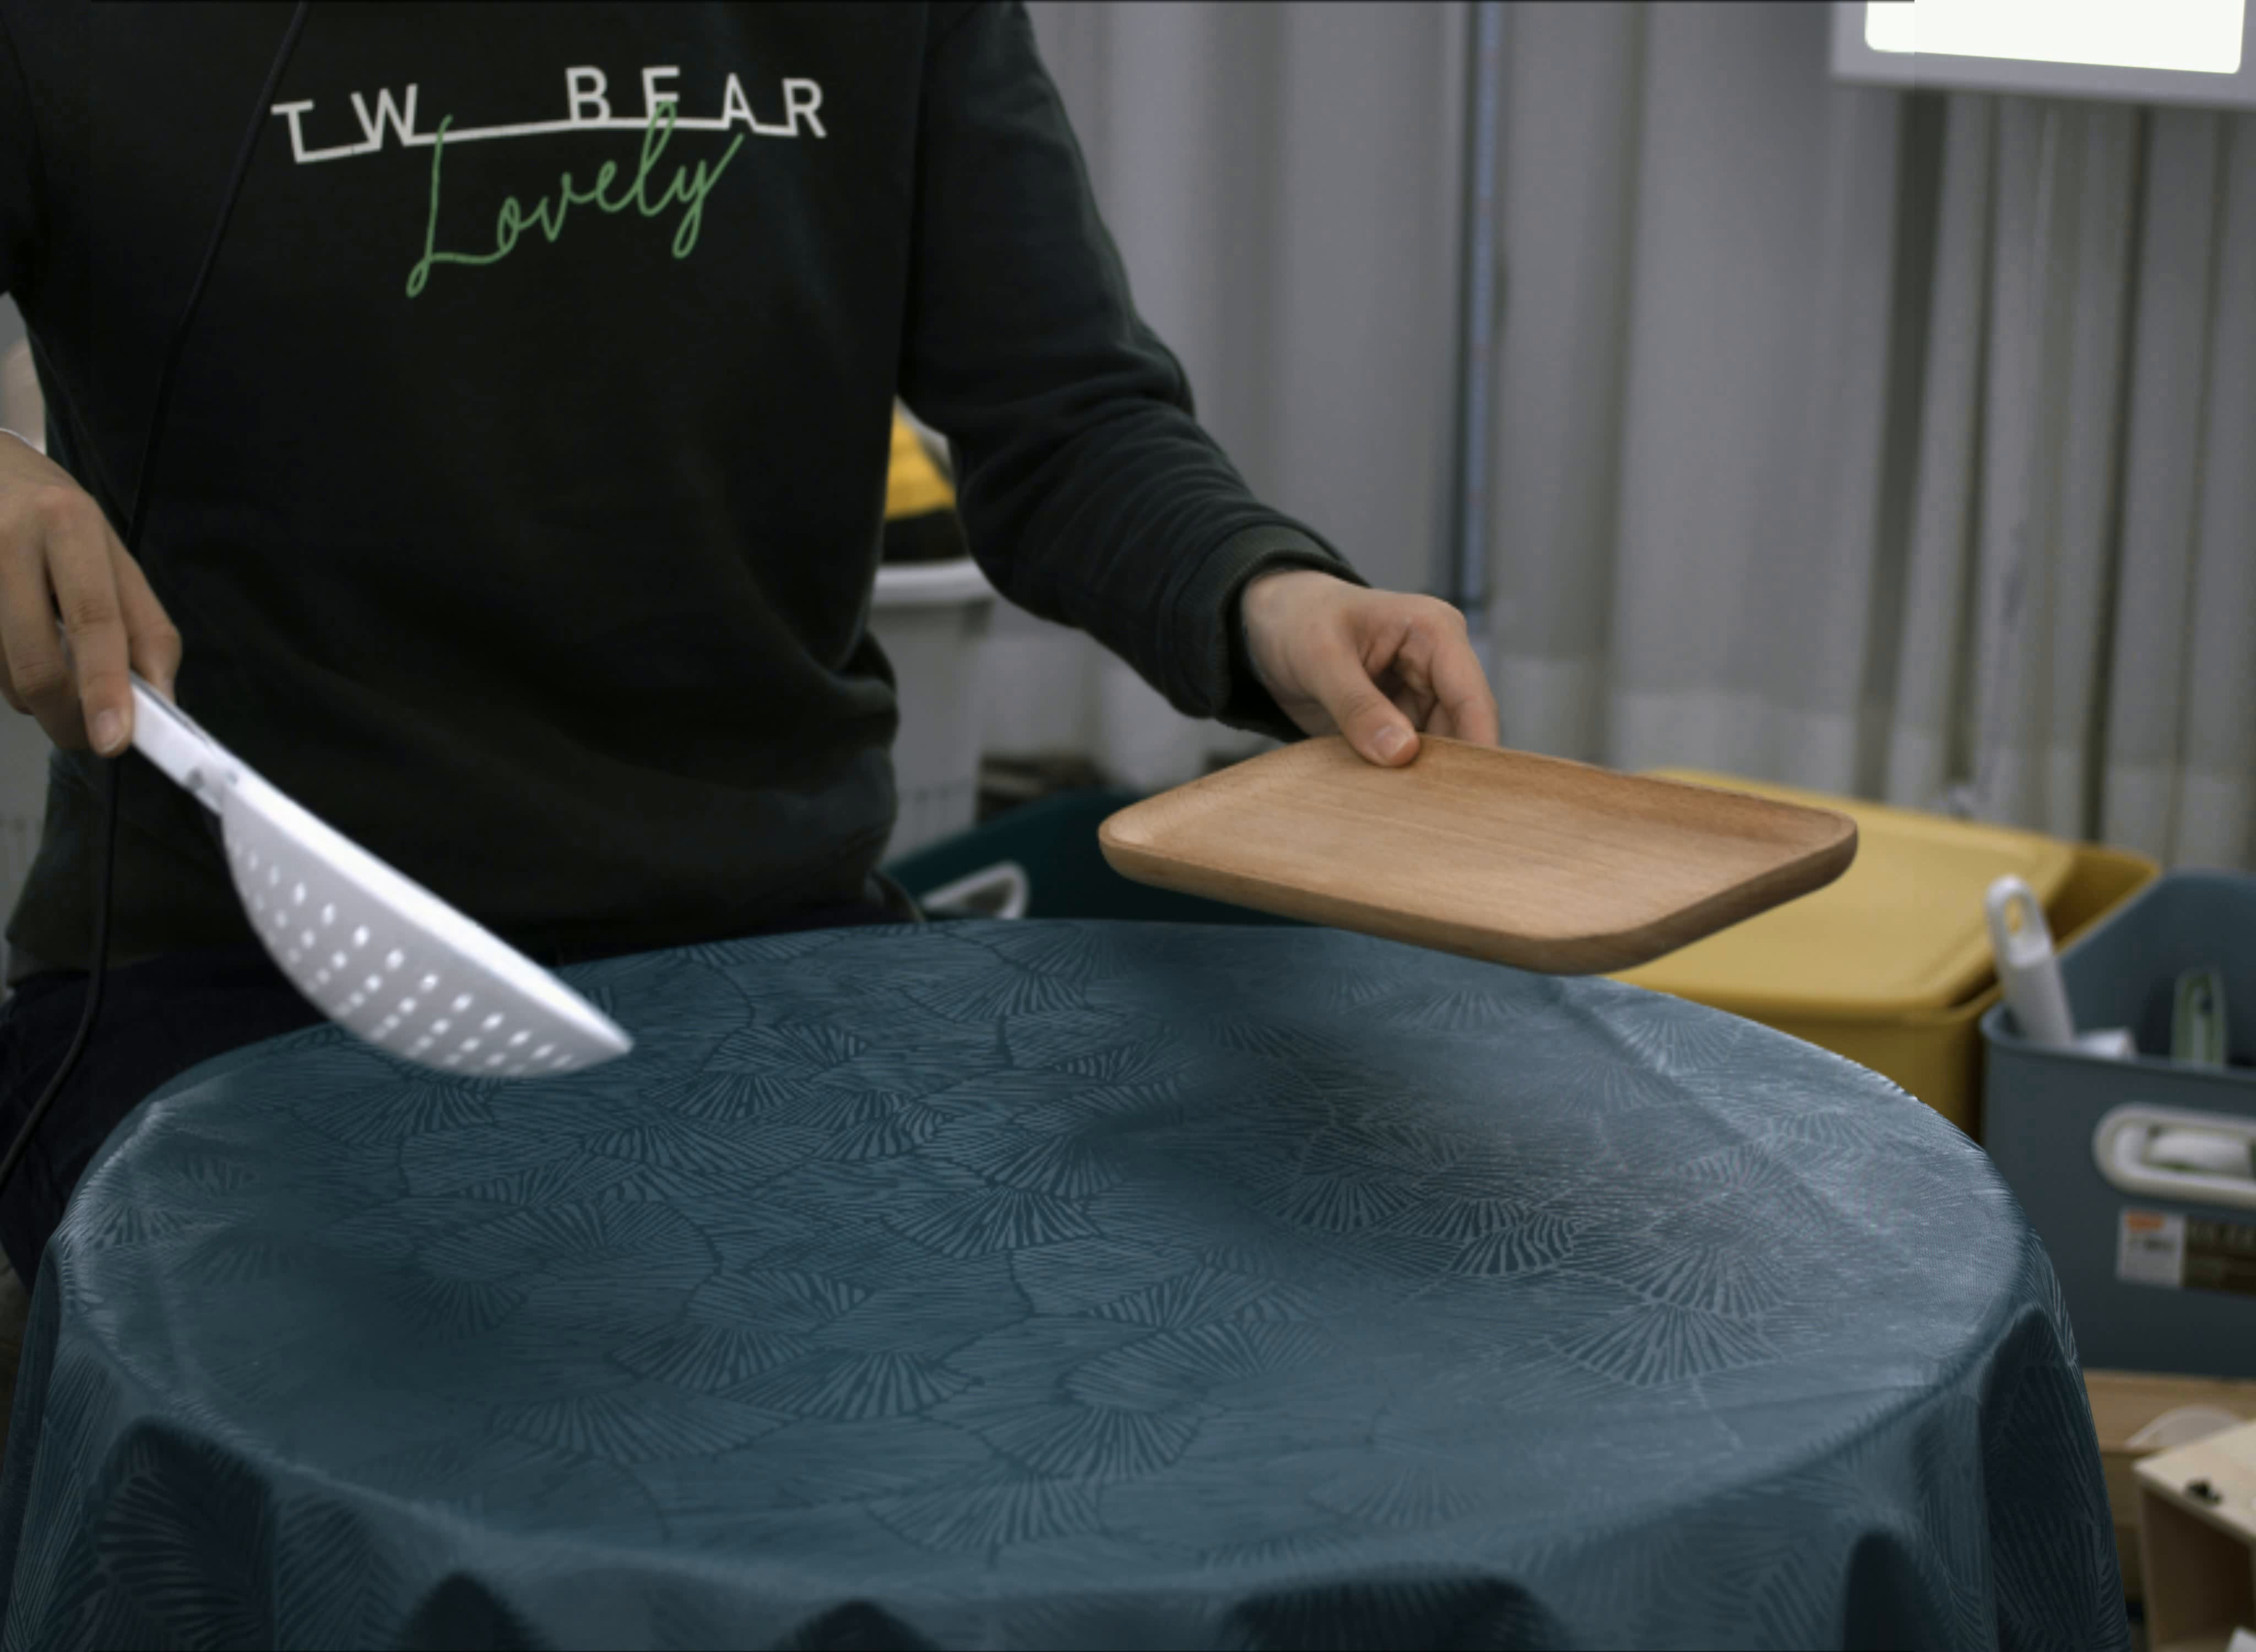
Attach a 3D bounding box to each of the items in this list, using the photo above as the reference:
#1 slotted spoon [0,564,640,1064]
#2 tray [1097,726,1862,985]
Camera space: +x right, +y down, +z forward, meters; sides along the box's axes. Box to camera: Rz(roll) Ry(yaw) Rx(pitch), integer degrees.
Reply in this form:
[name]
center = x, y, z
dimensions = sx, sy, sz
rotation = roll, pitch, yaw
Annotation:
[slotted spoon]
center = -0.256, -0.012, 1.538
dimensions = 0.138, 0.046, 0.345
rotation = 36, 2, -42
[tray]
center = 0.105, 0.007, 1.630
dimensions = 0.131, 0.023, 0.247
rotation = -19, 19, -35
